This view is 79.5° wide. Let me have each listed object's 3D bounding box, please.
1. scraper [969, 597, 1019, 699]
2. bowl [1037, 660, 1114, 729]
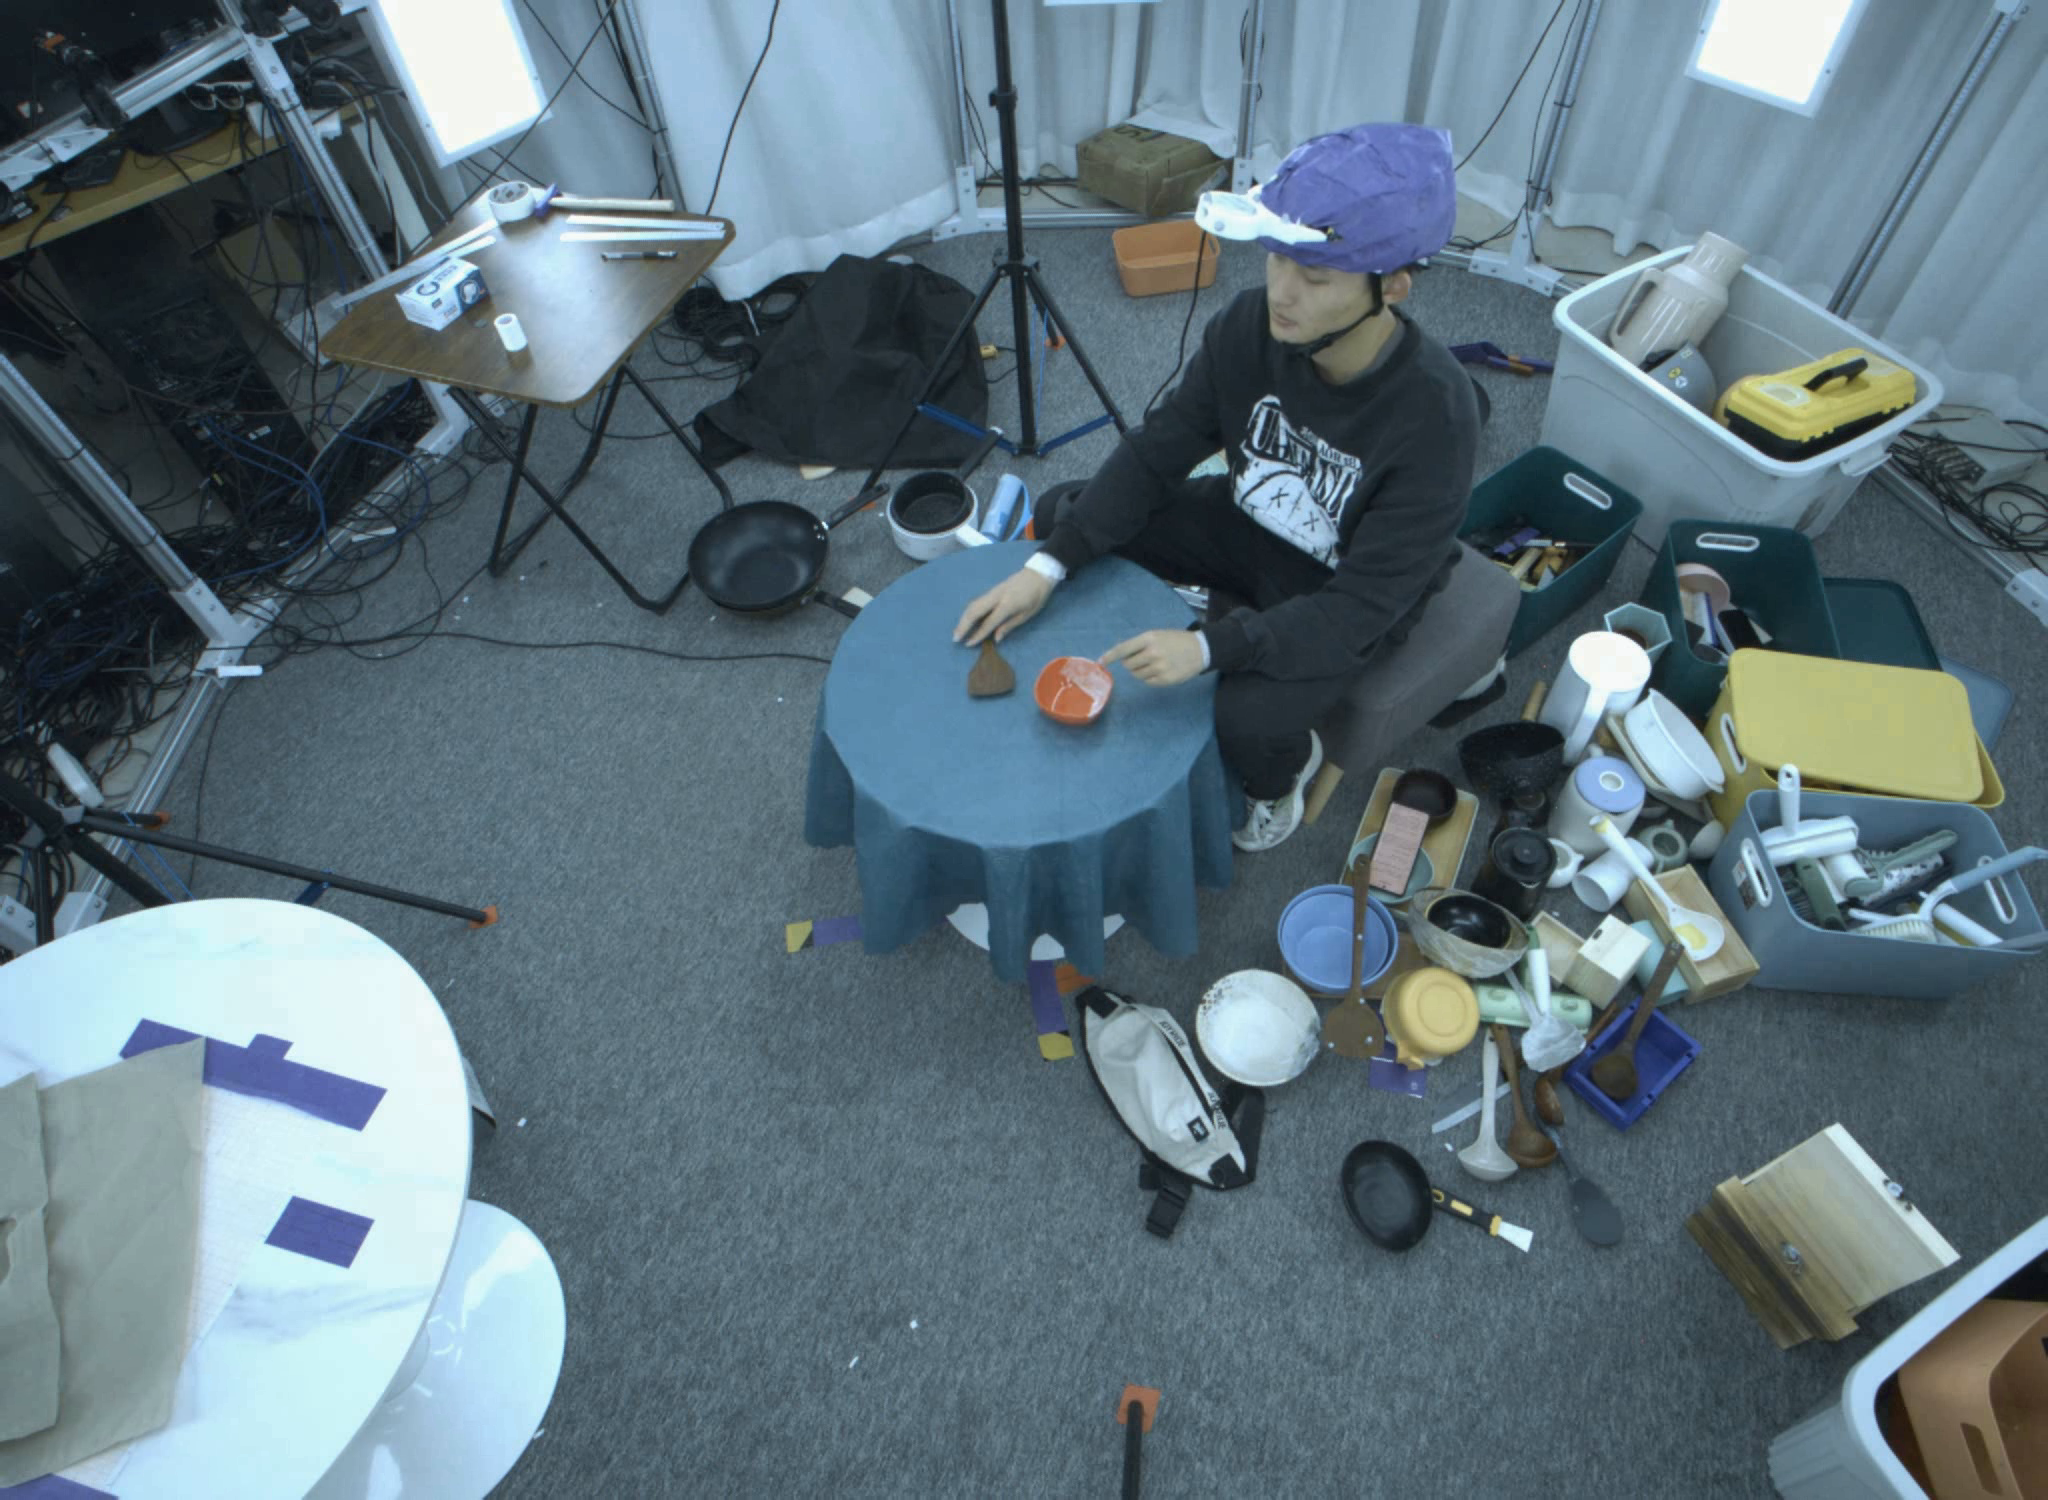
[{"bbox_3d":[-0.054,-0.160,1.907,0.076,0.011,0.208,-5,54,-3],"label":"scraper"},{"bbox_3d":[0.078,-0.074,1.817,0.118,0.052,0.118,-2,55,4],"label":"bowl"}]
